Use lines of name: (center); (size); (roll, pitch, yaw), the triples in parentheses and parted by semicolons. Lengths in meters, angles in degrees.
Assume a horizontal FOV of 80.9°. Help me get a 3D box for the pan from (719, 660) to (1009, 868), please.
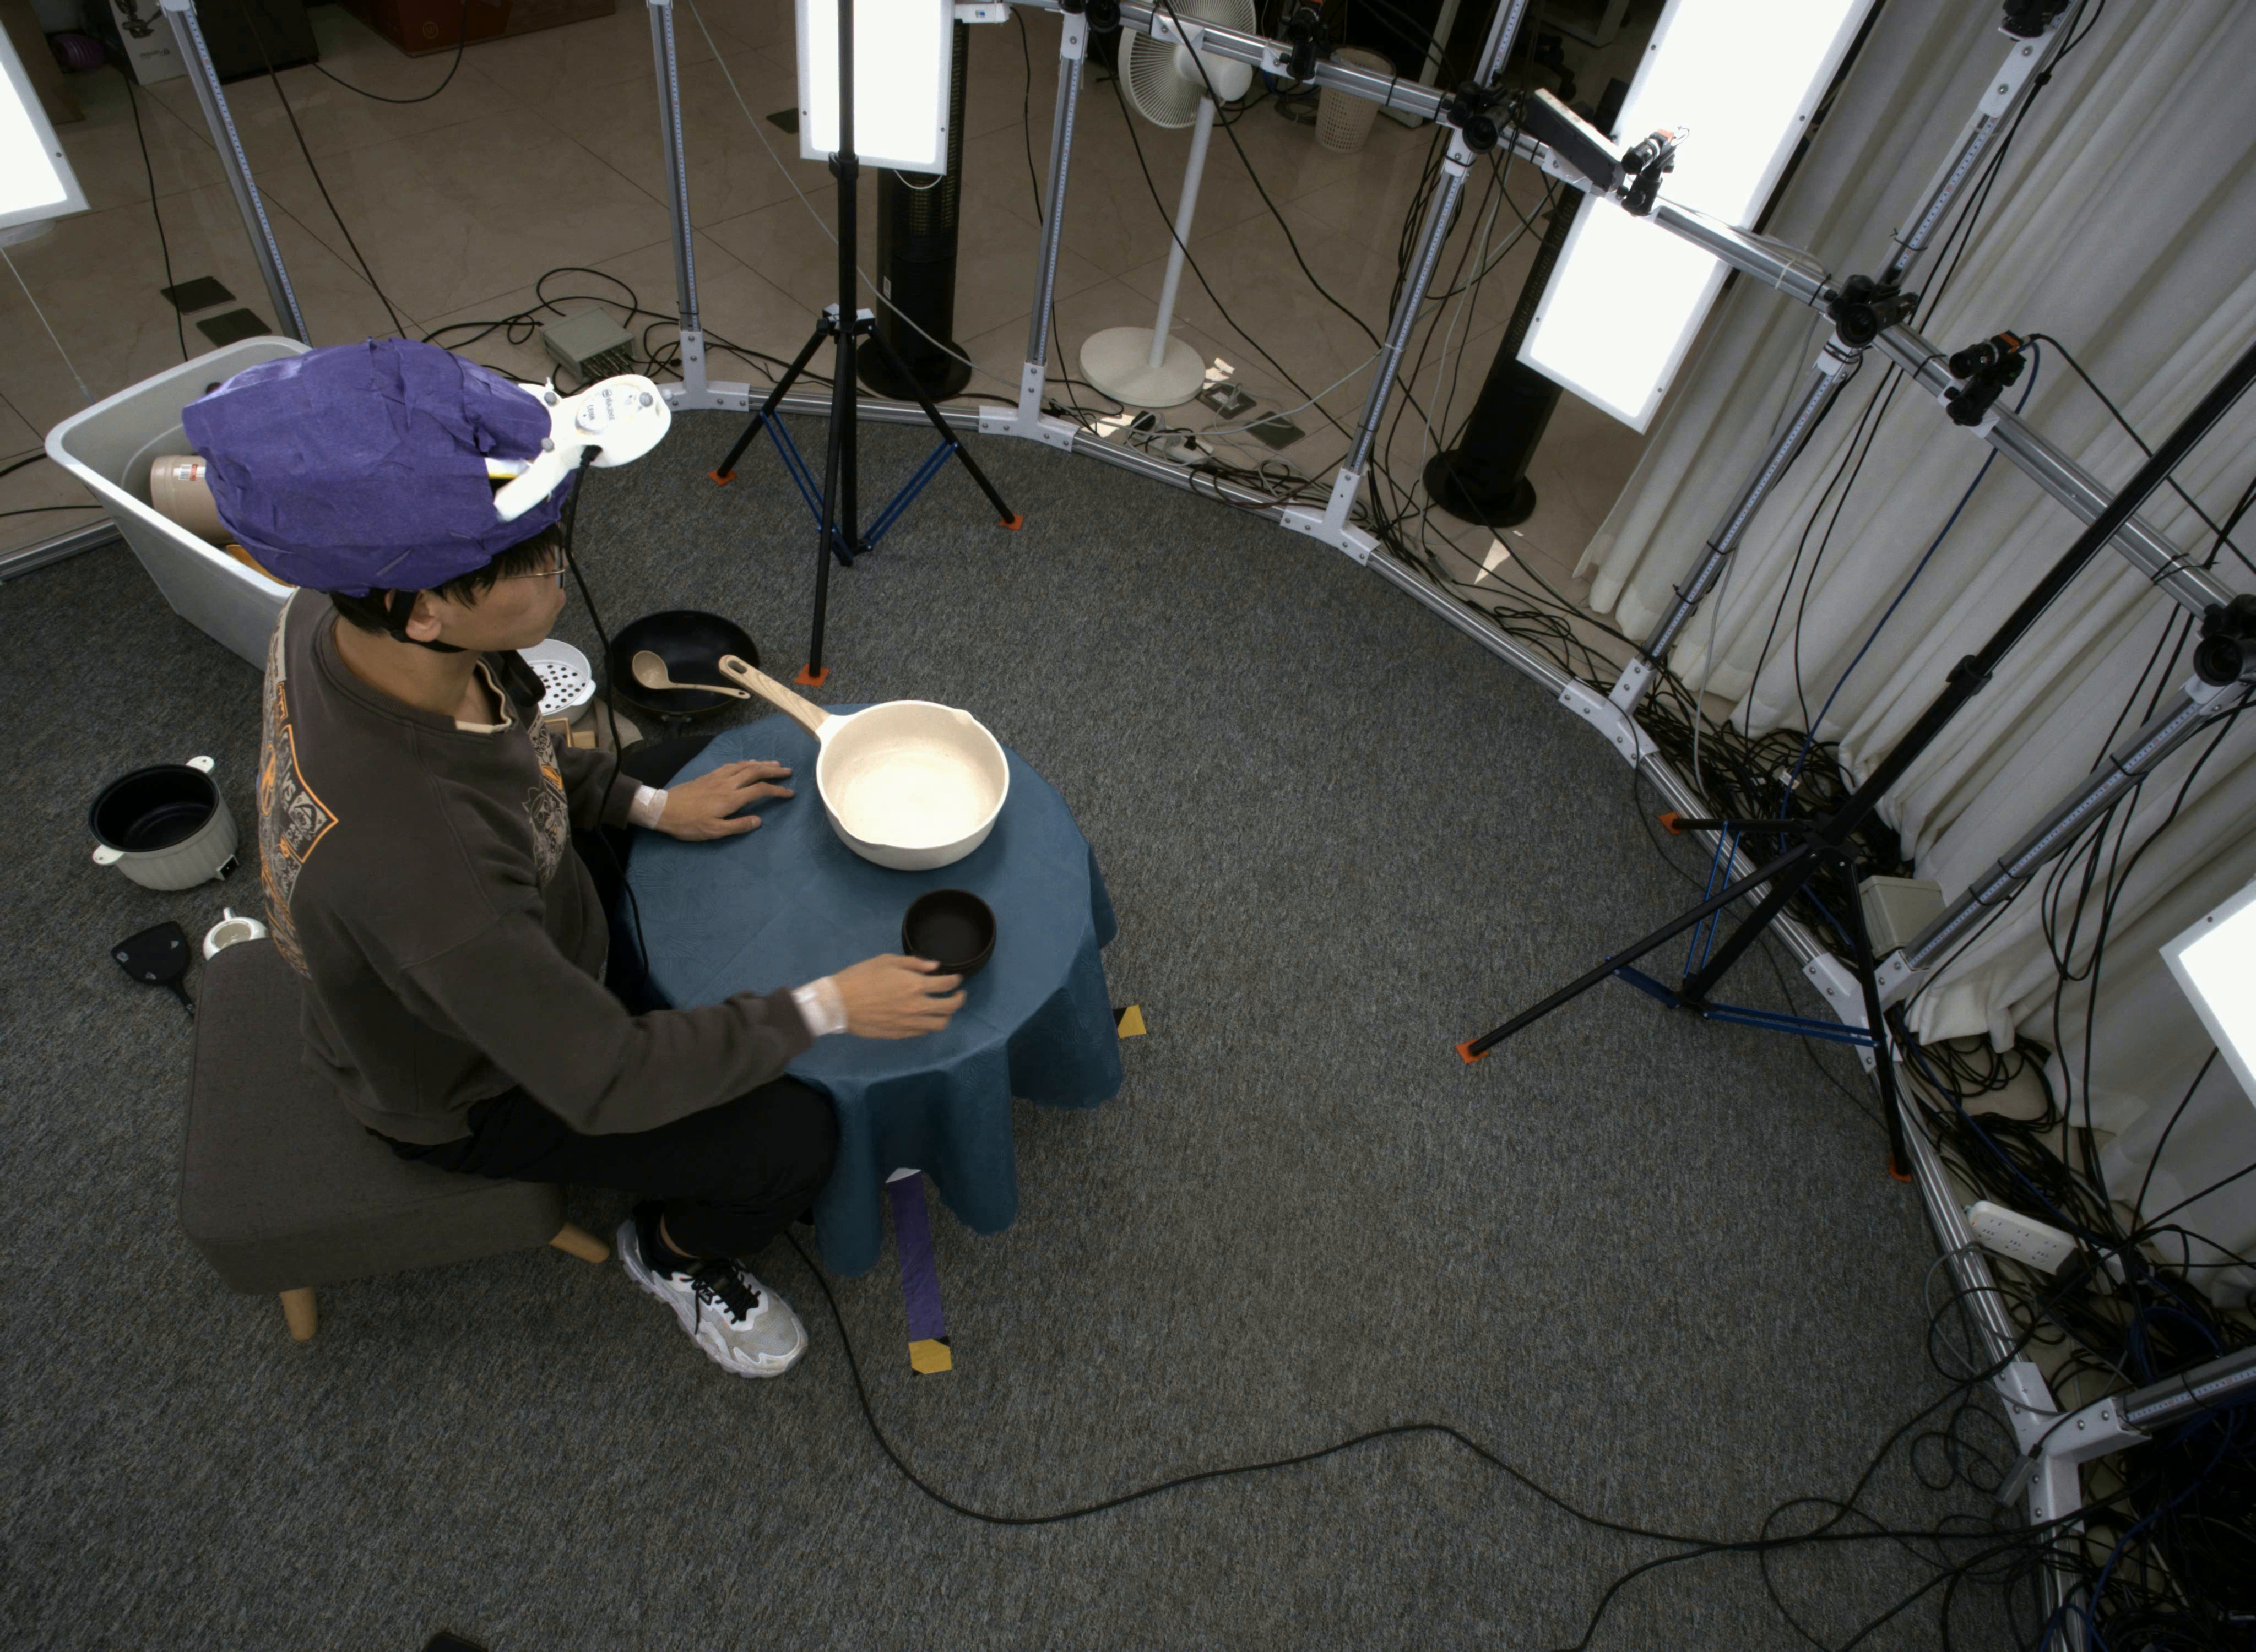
pan: (-0.367, -0.098, 1.761); (0.428, 0.104, 0.262); (27, 55, 7)

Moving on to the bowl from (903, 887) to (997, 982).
bowl: (-0.225, 0.142, 1.636); (0.118, 0.071, 0.116); (8, 53, -9)
